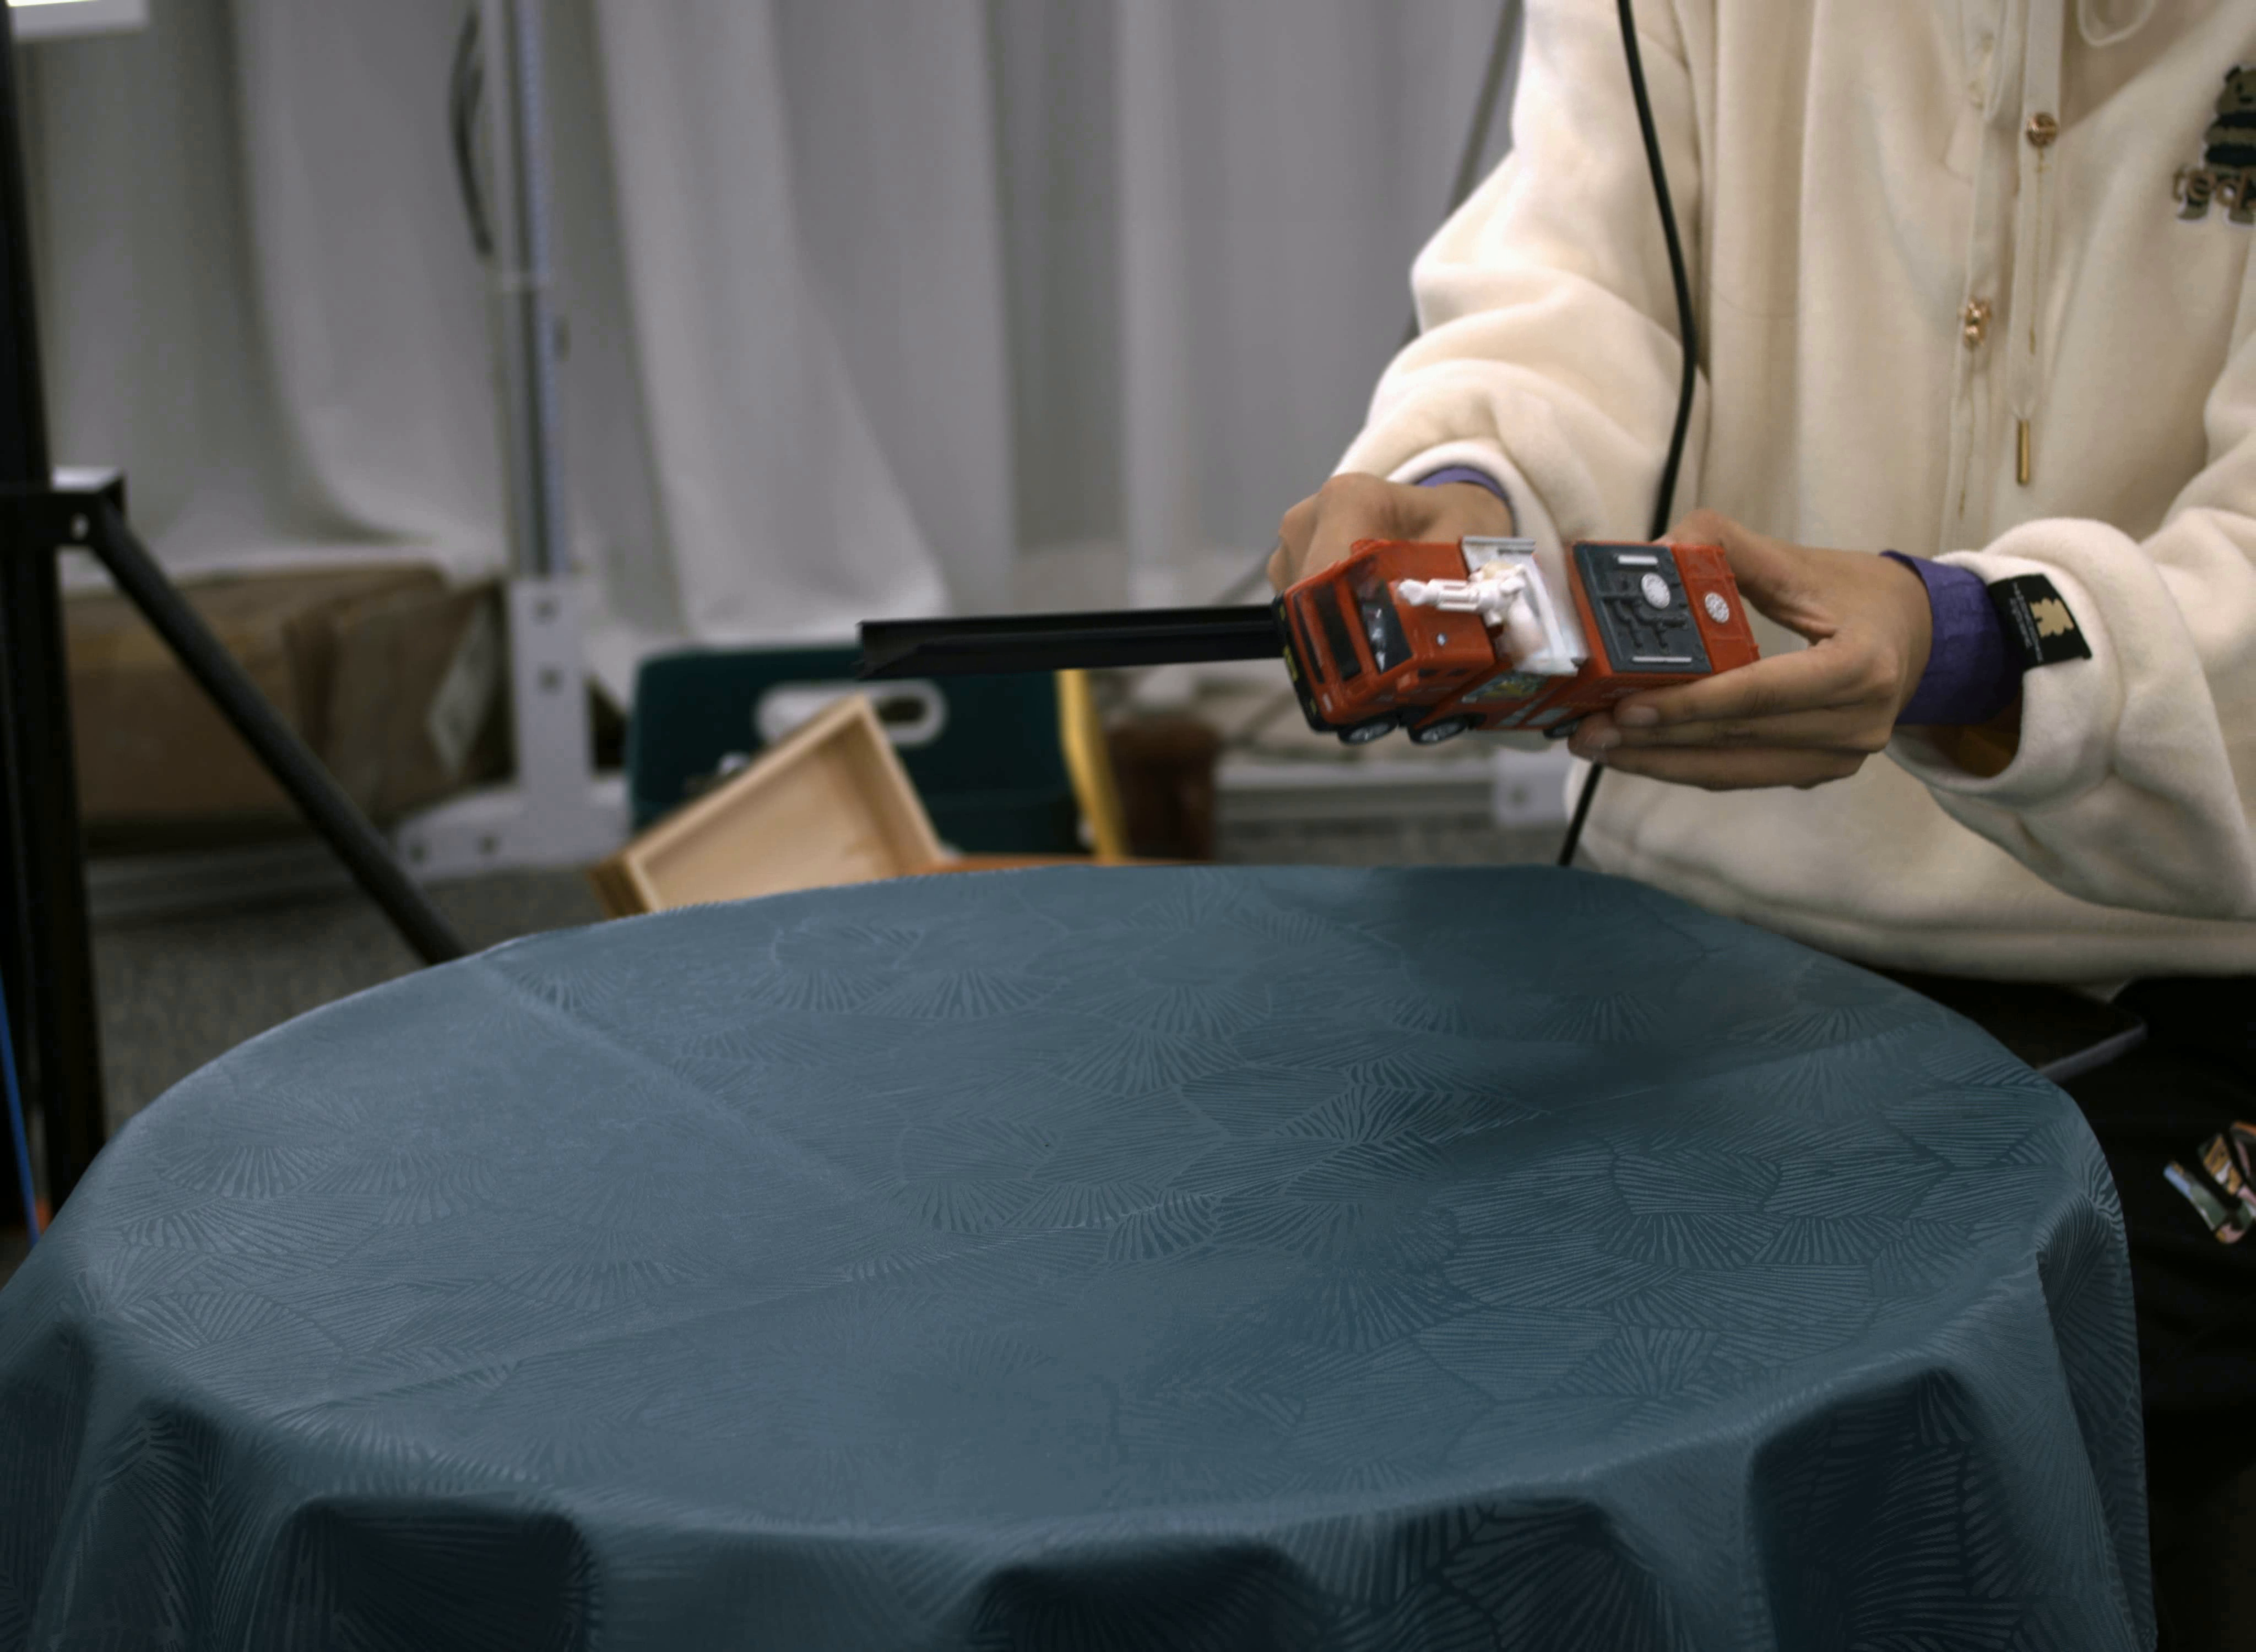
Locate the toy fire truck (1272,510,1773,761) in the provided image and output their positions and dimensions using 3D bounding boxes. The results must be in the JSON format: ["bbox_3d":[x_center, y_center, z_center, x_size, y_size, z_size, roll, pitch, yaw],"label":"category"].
[{"bbox_3d":[0.117,-0.055,1.562,0.163,0.054,0.071,2,-25,-44],"label":"toy fire truck"}]

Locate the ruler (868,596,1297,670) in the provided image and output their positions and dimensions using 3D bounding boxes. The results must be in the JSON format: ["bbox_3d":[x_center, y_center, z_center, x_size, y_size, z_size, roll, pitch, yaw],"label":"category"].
[{"bbox_3d":[0.044,-0.063,1.572,0.304,0.017,0.040,-4,-11,-46],"label":"ruler"}]
